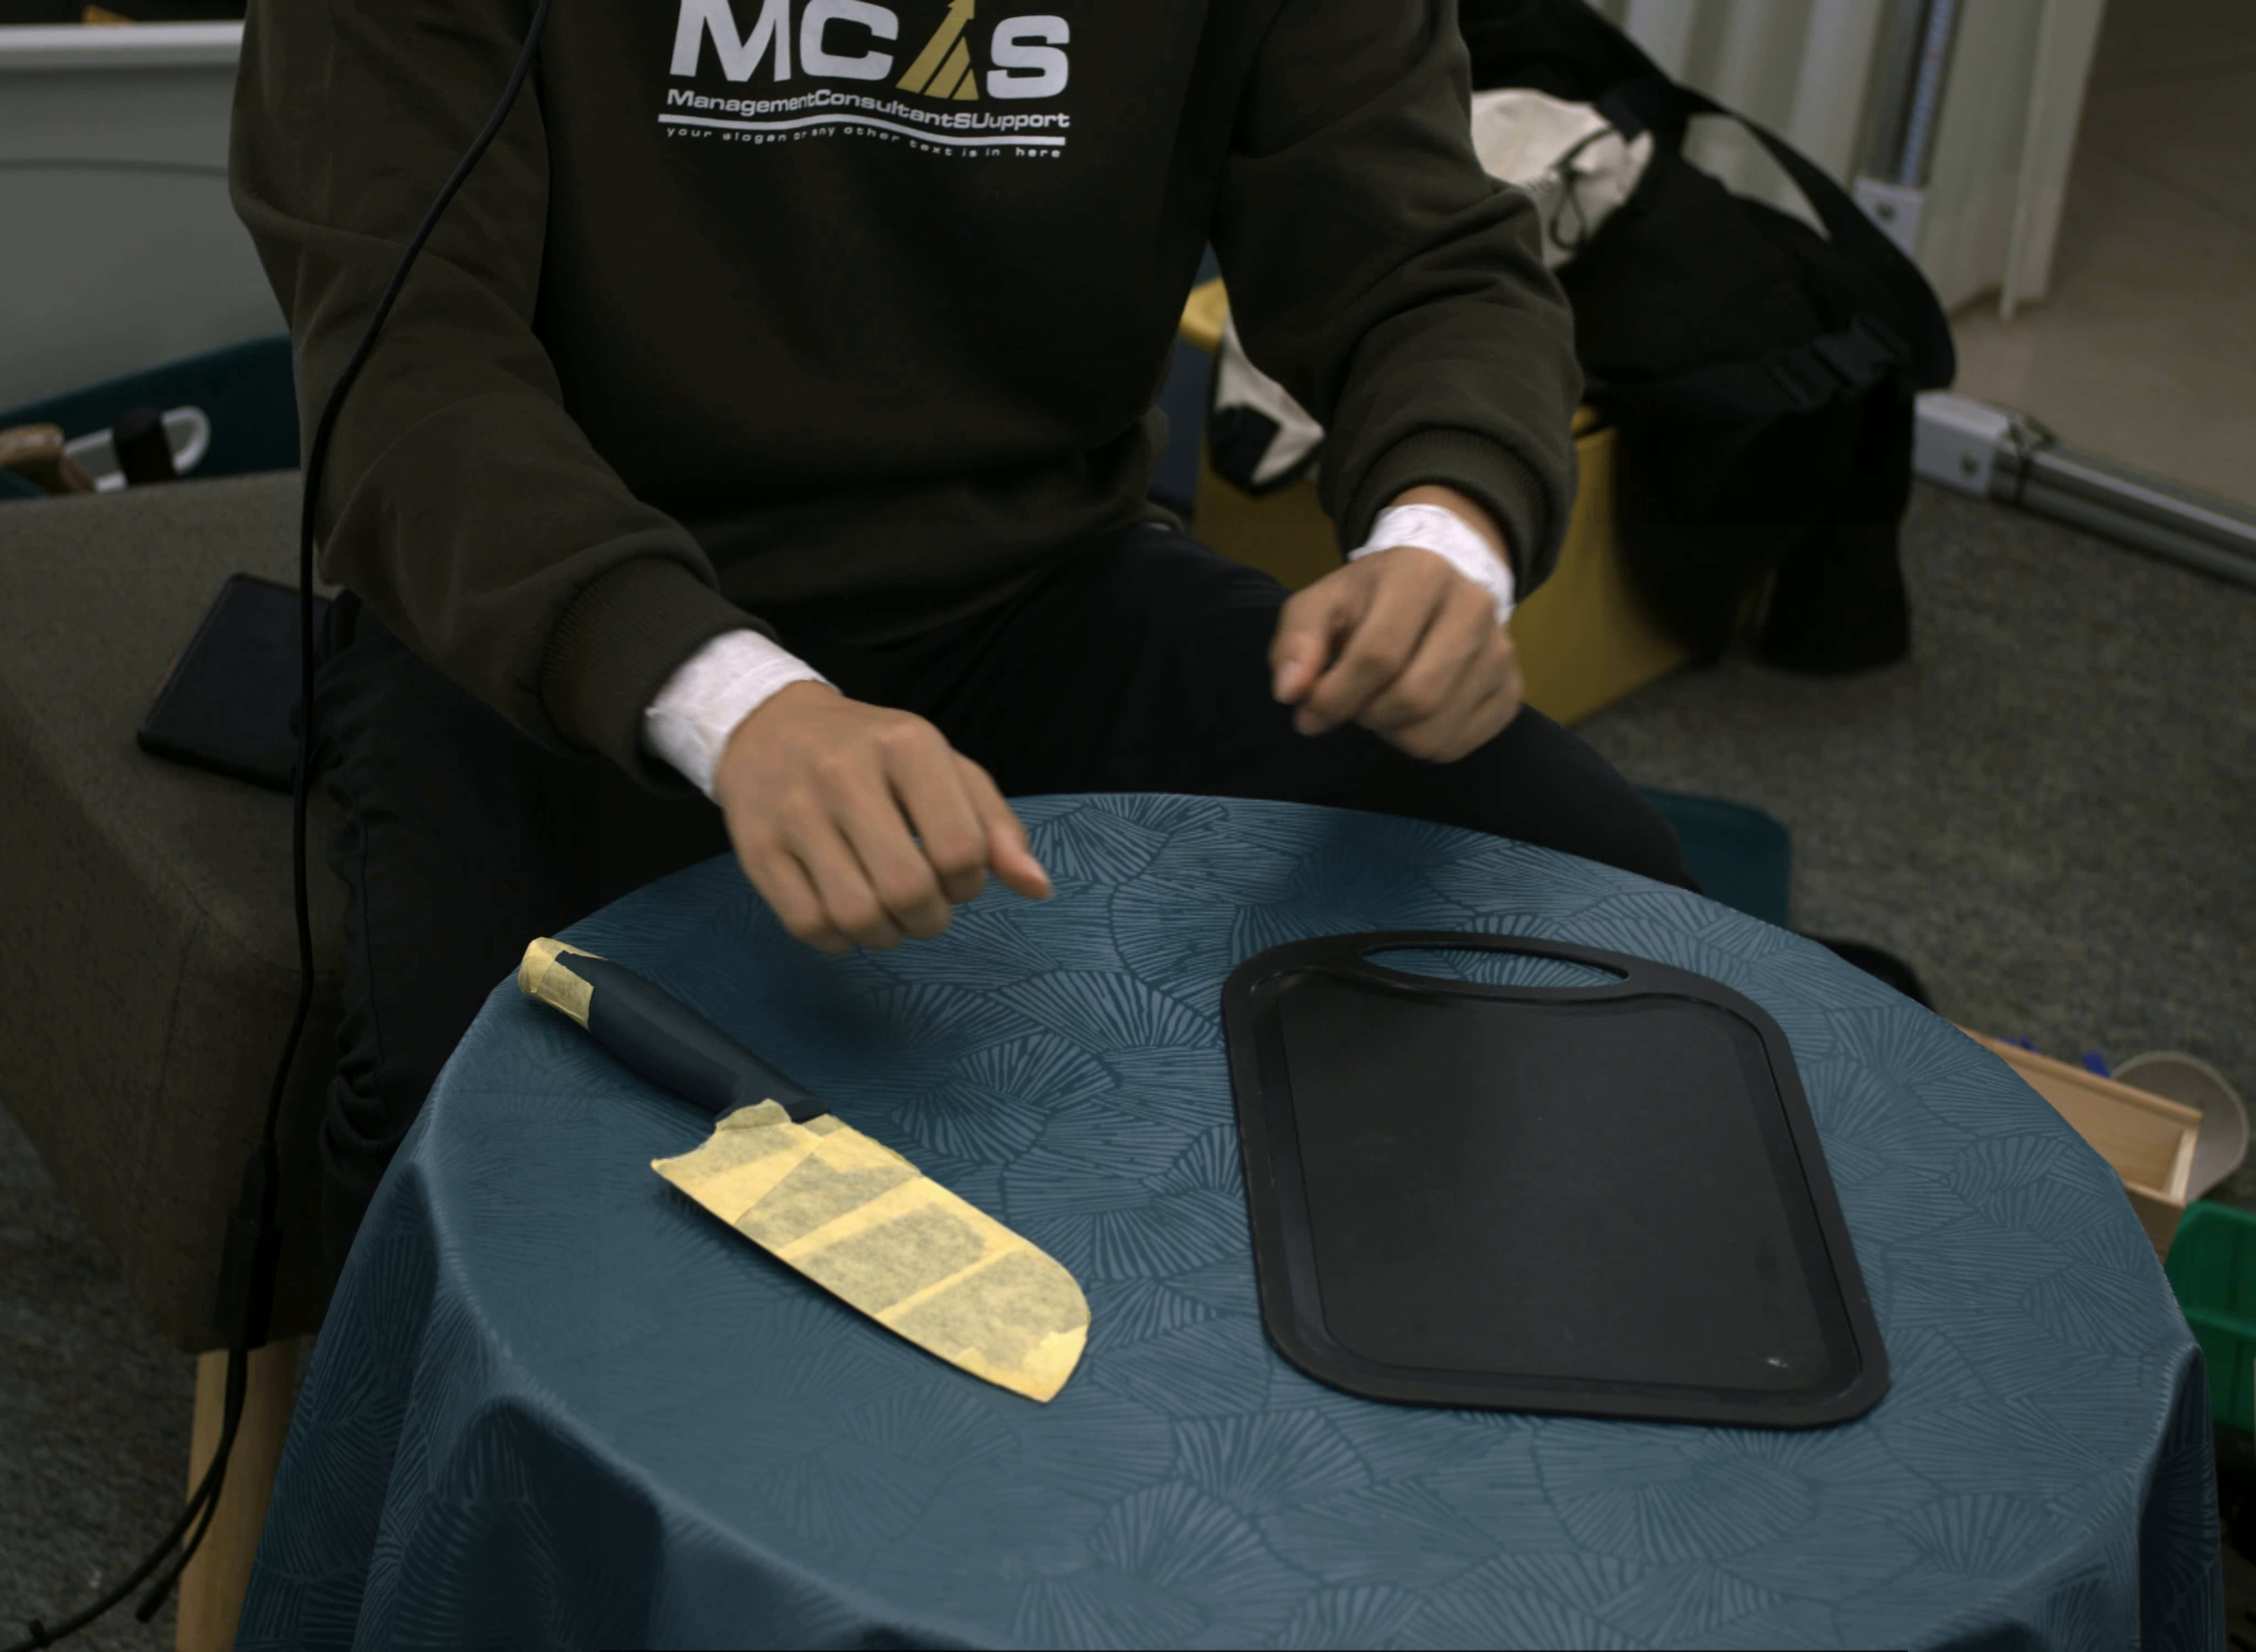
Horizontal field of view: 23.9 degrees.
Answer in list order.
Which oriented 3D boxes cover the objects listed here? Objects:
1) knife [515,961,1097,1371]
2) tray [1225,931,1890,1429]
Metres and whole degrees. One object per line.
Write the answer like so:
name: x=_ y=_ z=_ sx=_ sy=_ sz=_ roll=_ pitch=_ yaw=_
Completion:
knife: x=-0.117 y=0.114 z=1.781 sx=0.080 sy=0.027 sz=0.292 roll=-18 pitch=36 yaw=-42
tray: x=0.142 y=0.114 z=1.849 sx=0.210 sy=0.010 sz=0.327 roll=4 pitch=27 yaw=-4
